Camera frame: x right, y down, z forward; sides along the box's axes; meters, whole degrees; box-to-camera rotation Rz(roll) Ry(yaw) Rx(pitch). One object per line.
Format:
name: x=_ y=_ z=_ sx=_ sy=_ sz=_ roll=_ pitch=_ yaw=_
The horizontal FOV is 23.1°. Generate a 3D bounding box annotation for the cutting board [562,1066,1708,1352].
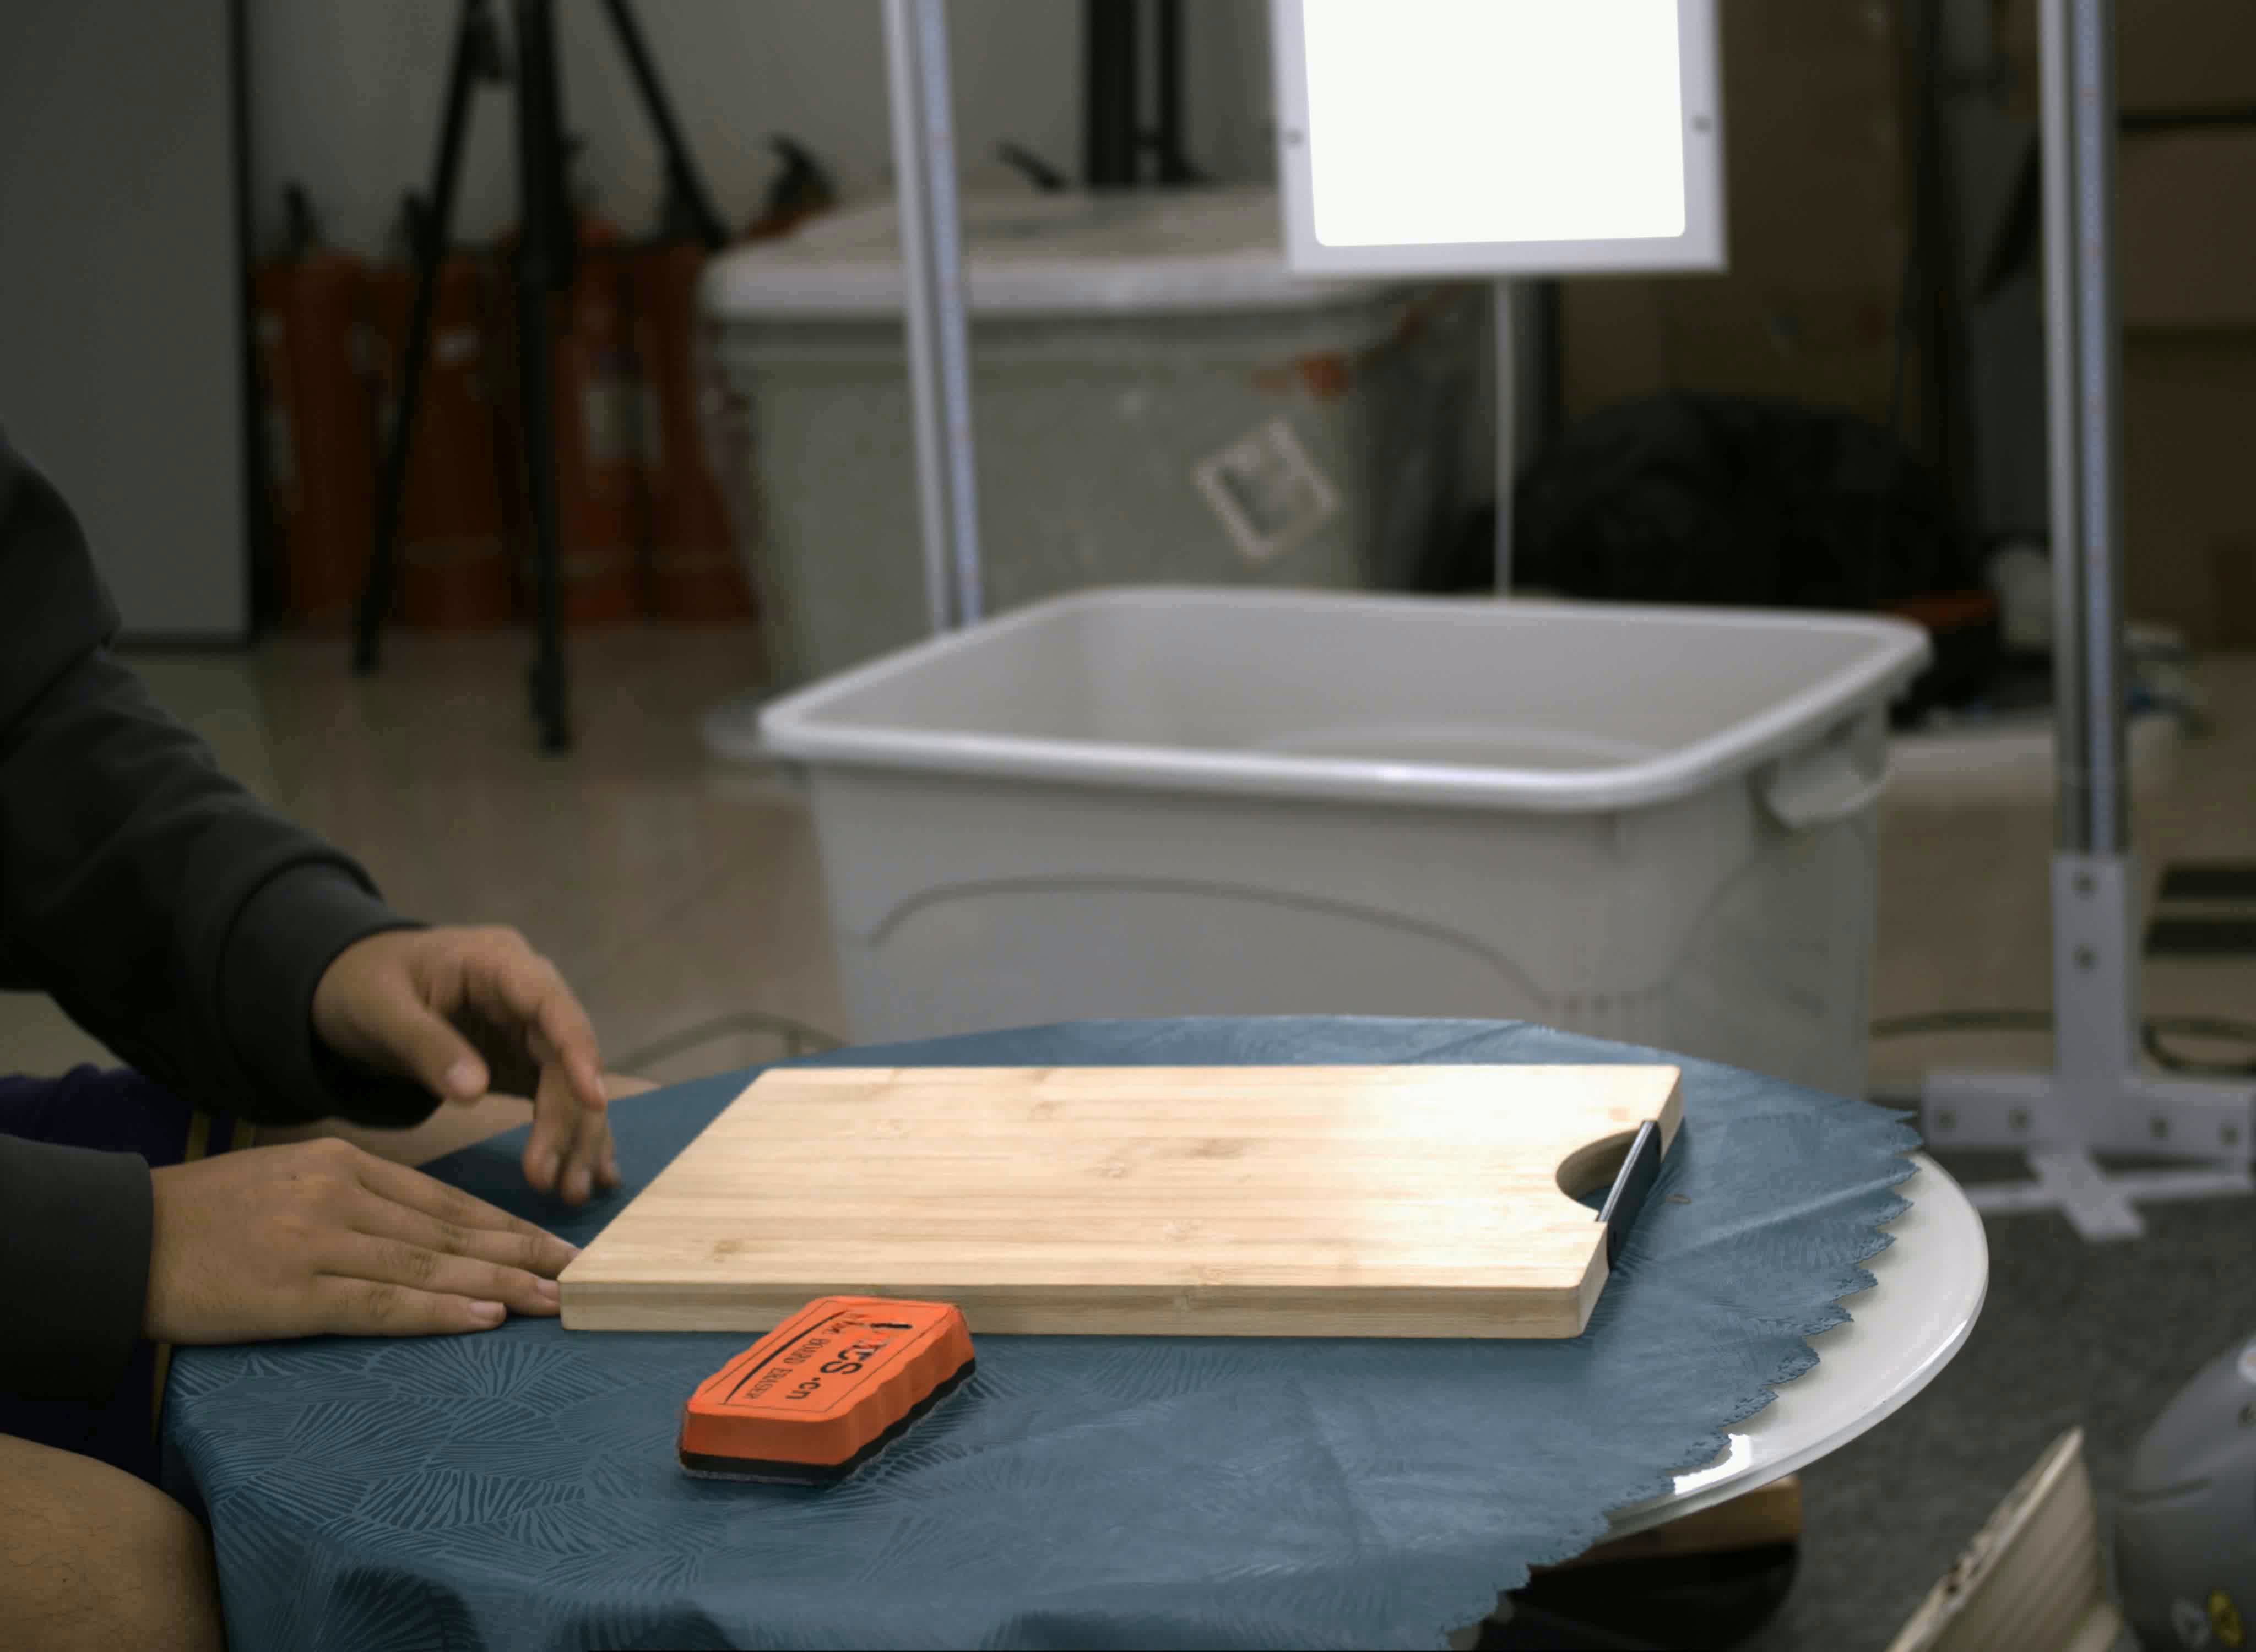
cutting board: x=0.010 y=0.125 z=1.865 sx=0.352 sy=0.023 sz=0.247 roll=-1 pitch=14 yaw=15

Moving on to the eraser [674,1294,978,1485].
eraser: x=-0.092 y=0.172 z=1.693 sx=0.060 sy=0.023 sz=0.106 roll=3 pitch=15 yaw=25
